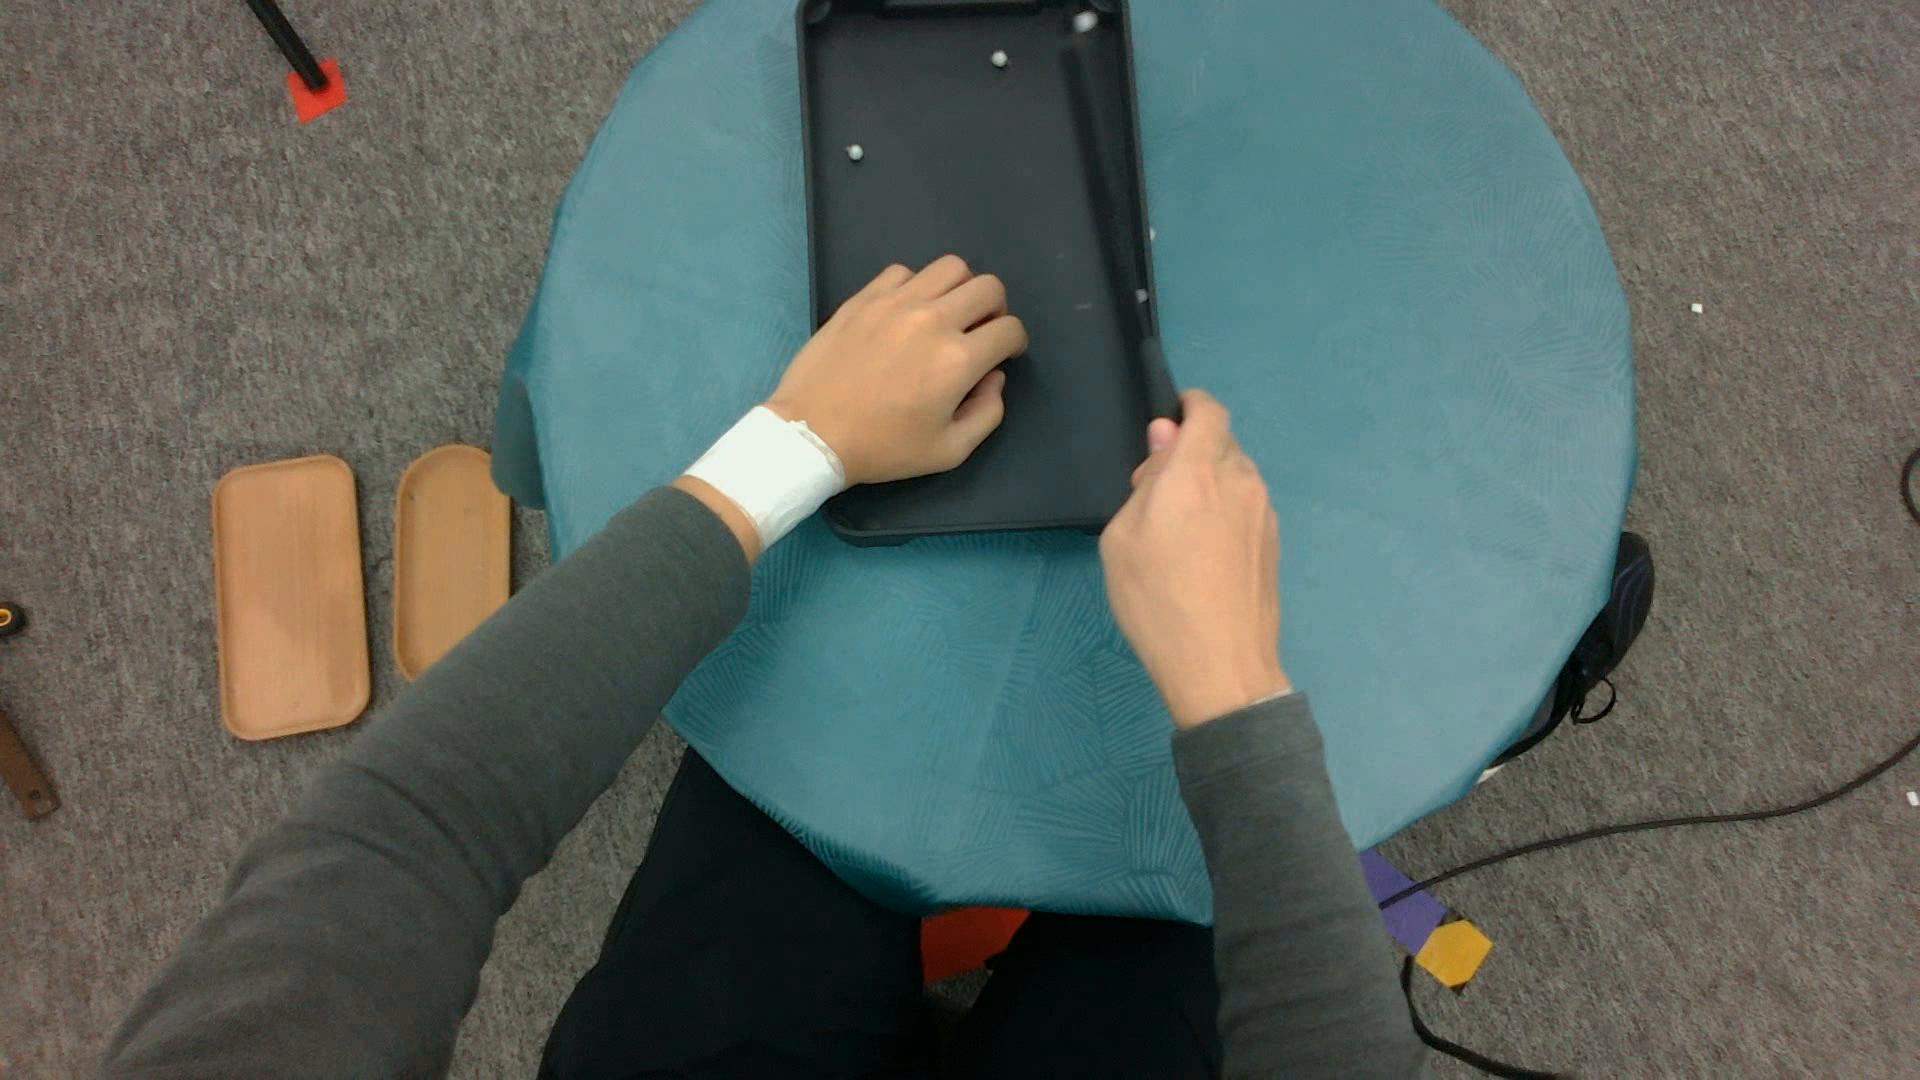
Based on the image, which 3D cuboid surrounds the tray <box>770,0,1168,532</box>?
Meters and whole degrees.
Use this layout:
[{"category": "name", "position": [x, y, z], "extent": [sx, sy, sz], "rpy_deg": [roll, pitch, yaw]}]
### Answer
[{"category": "tray", "position": [0.000, -0.164, 0.742], "extent": [0.184, 0.037, 0.318], "rpy_deg": [-5, 76, -4]}]

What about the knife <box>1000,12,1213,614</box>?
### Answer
[{"category": "knife", "position": [0.064, -0.110, 0.663], "extent": [0.021, 0.081, 0.303], "rpy_deg": [-17, 77, 0]}]
